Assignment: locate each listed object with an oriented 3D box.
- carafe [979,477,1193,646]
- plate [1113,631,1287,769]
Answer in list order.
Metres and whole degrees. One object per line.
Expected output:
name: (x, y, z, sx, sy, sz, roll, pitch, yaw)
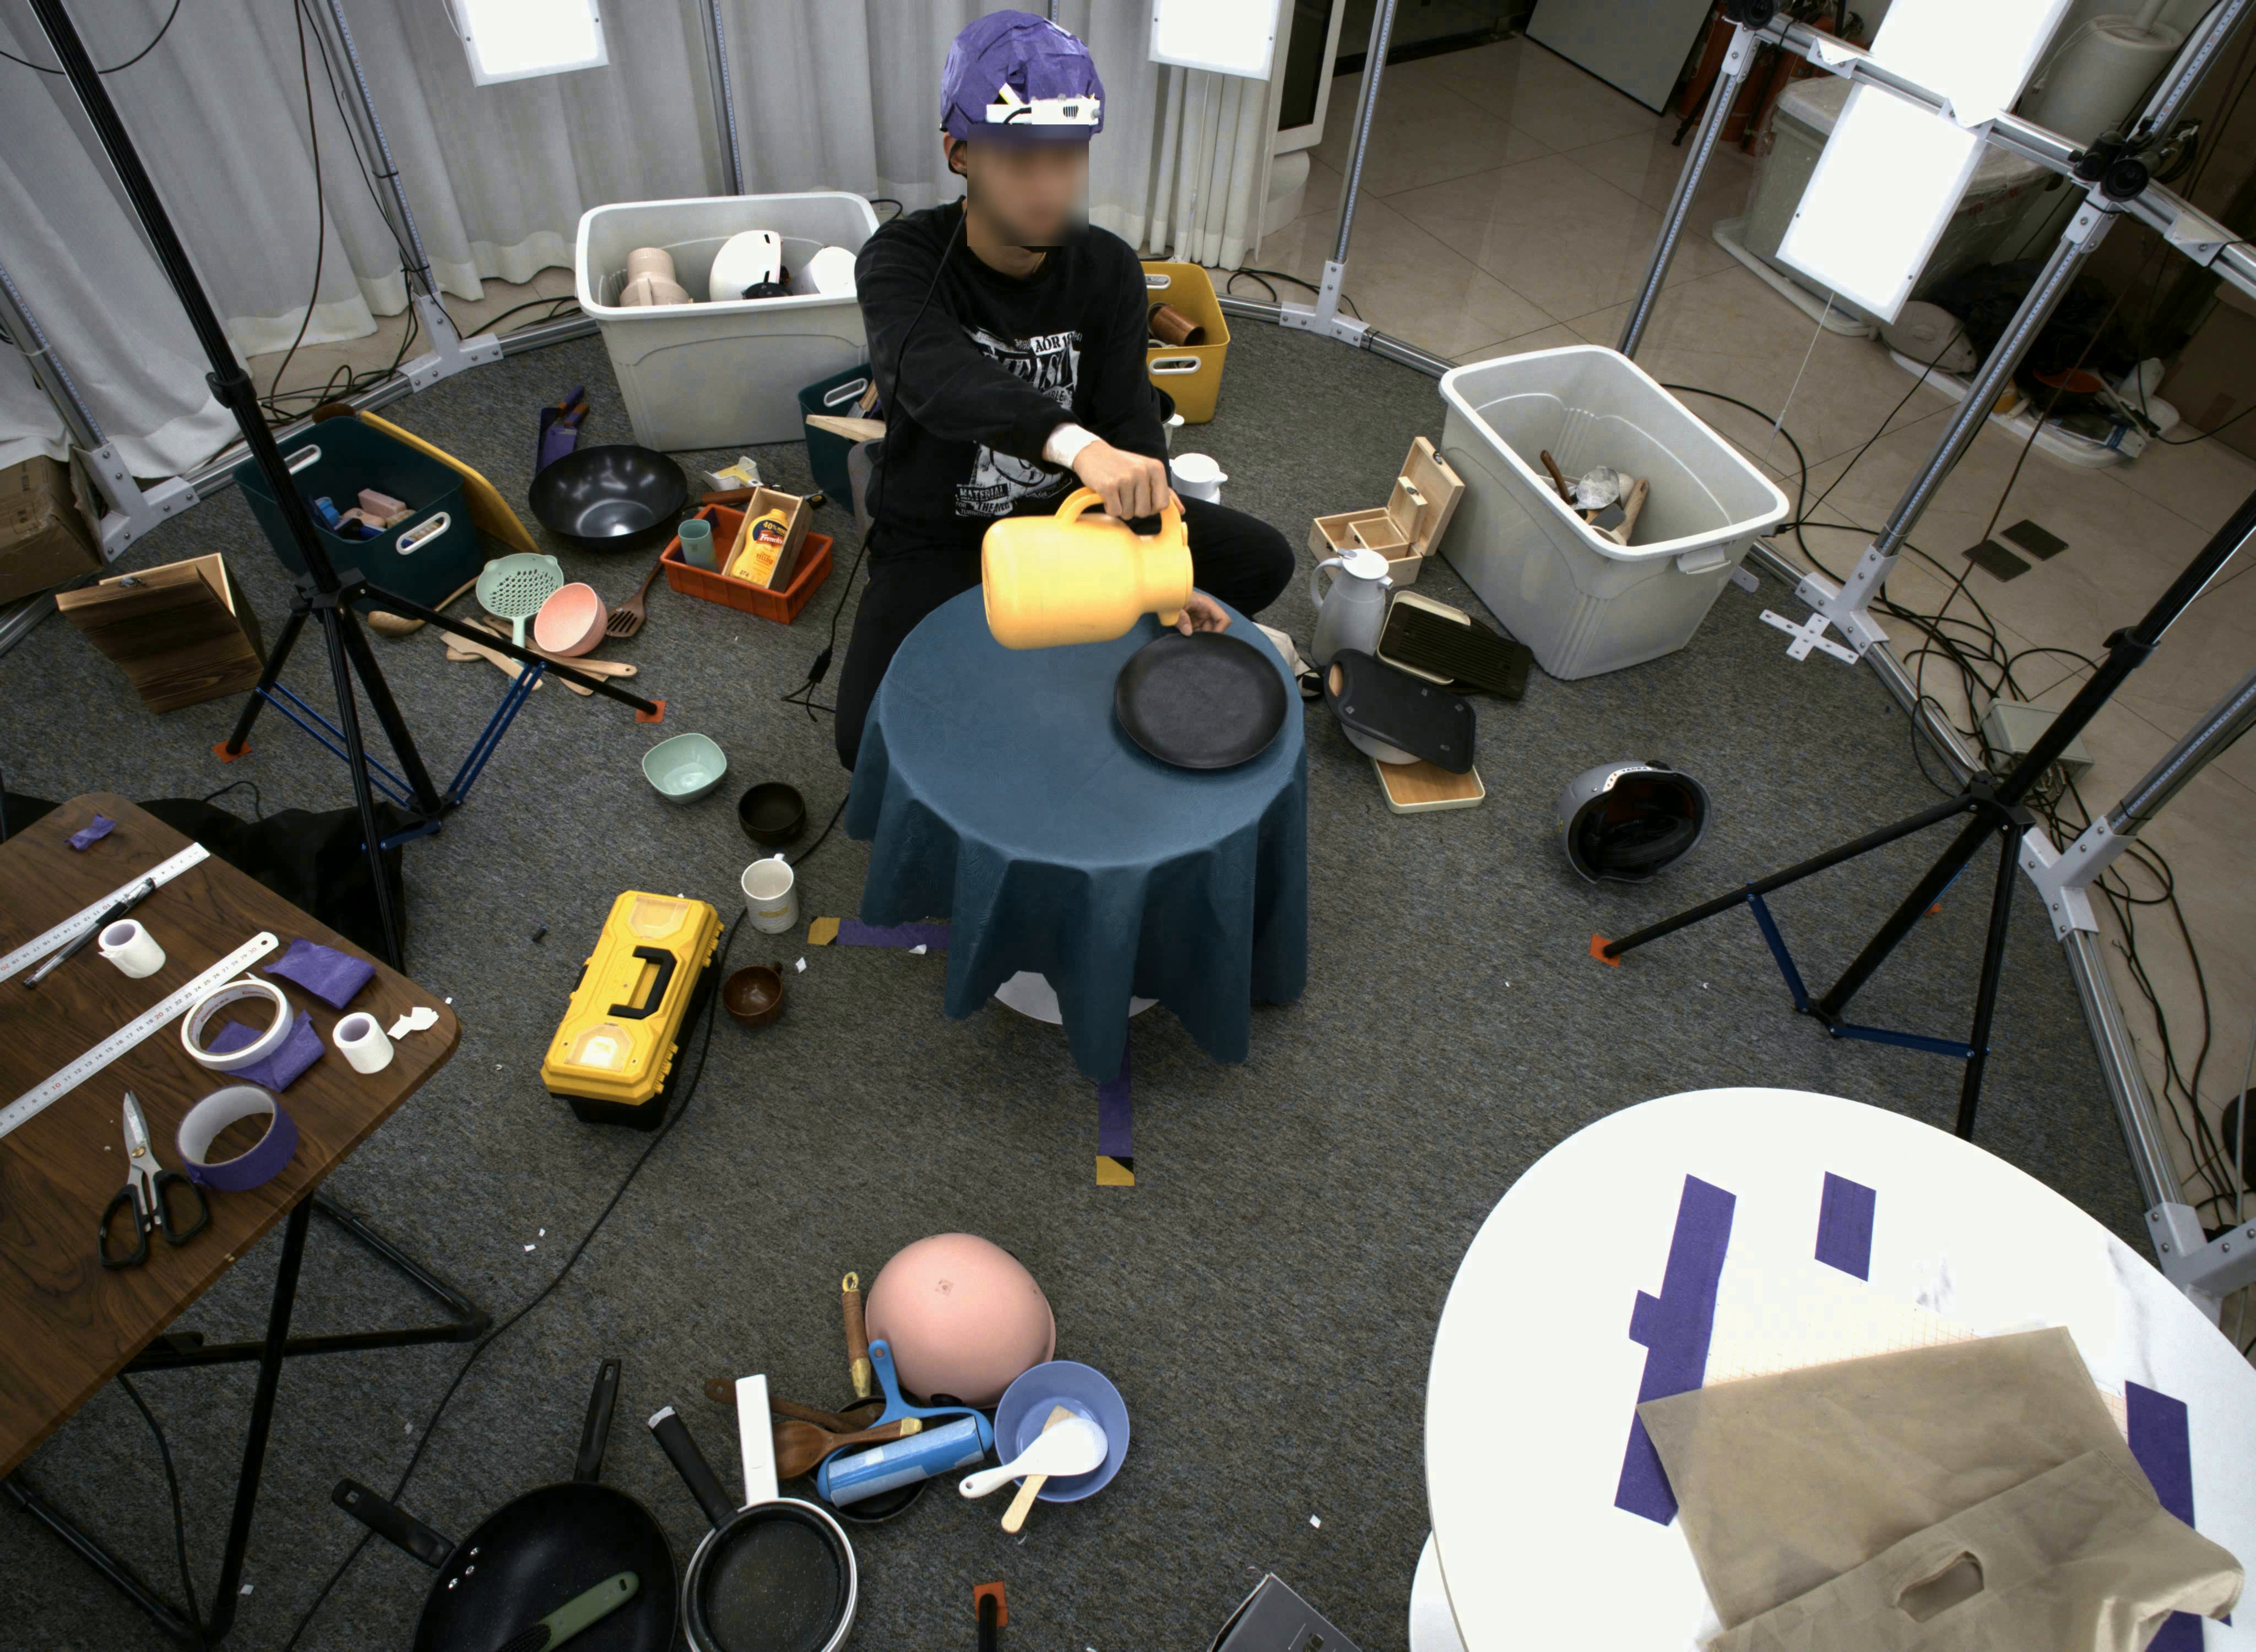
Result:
carafe: (-0.051, -0.330, 1.597, 0.260, 0.198, 0.167, -6, 34, -11)
plate: (0.101, -0.174, 1.796, 0.244, 0.023, 0.250, 0, 56, 0)
